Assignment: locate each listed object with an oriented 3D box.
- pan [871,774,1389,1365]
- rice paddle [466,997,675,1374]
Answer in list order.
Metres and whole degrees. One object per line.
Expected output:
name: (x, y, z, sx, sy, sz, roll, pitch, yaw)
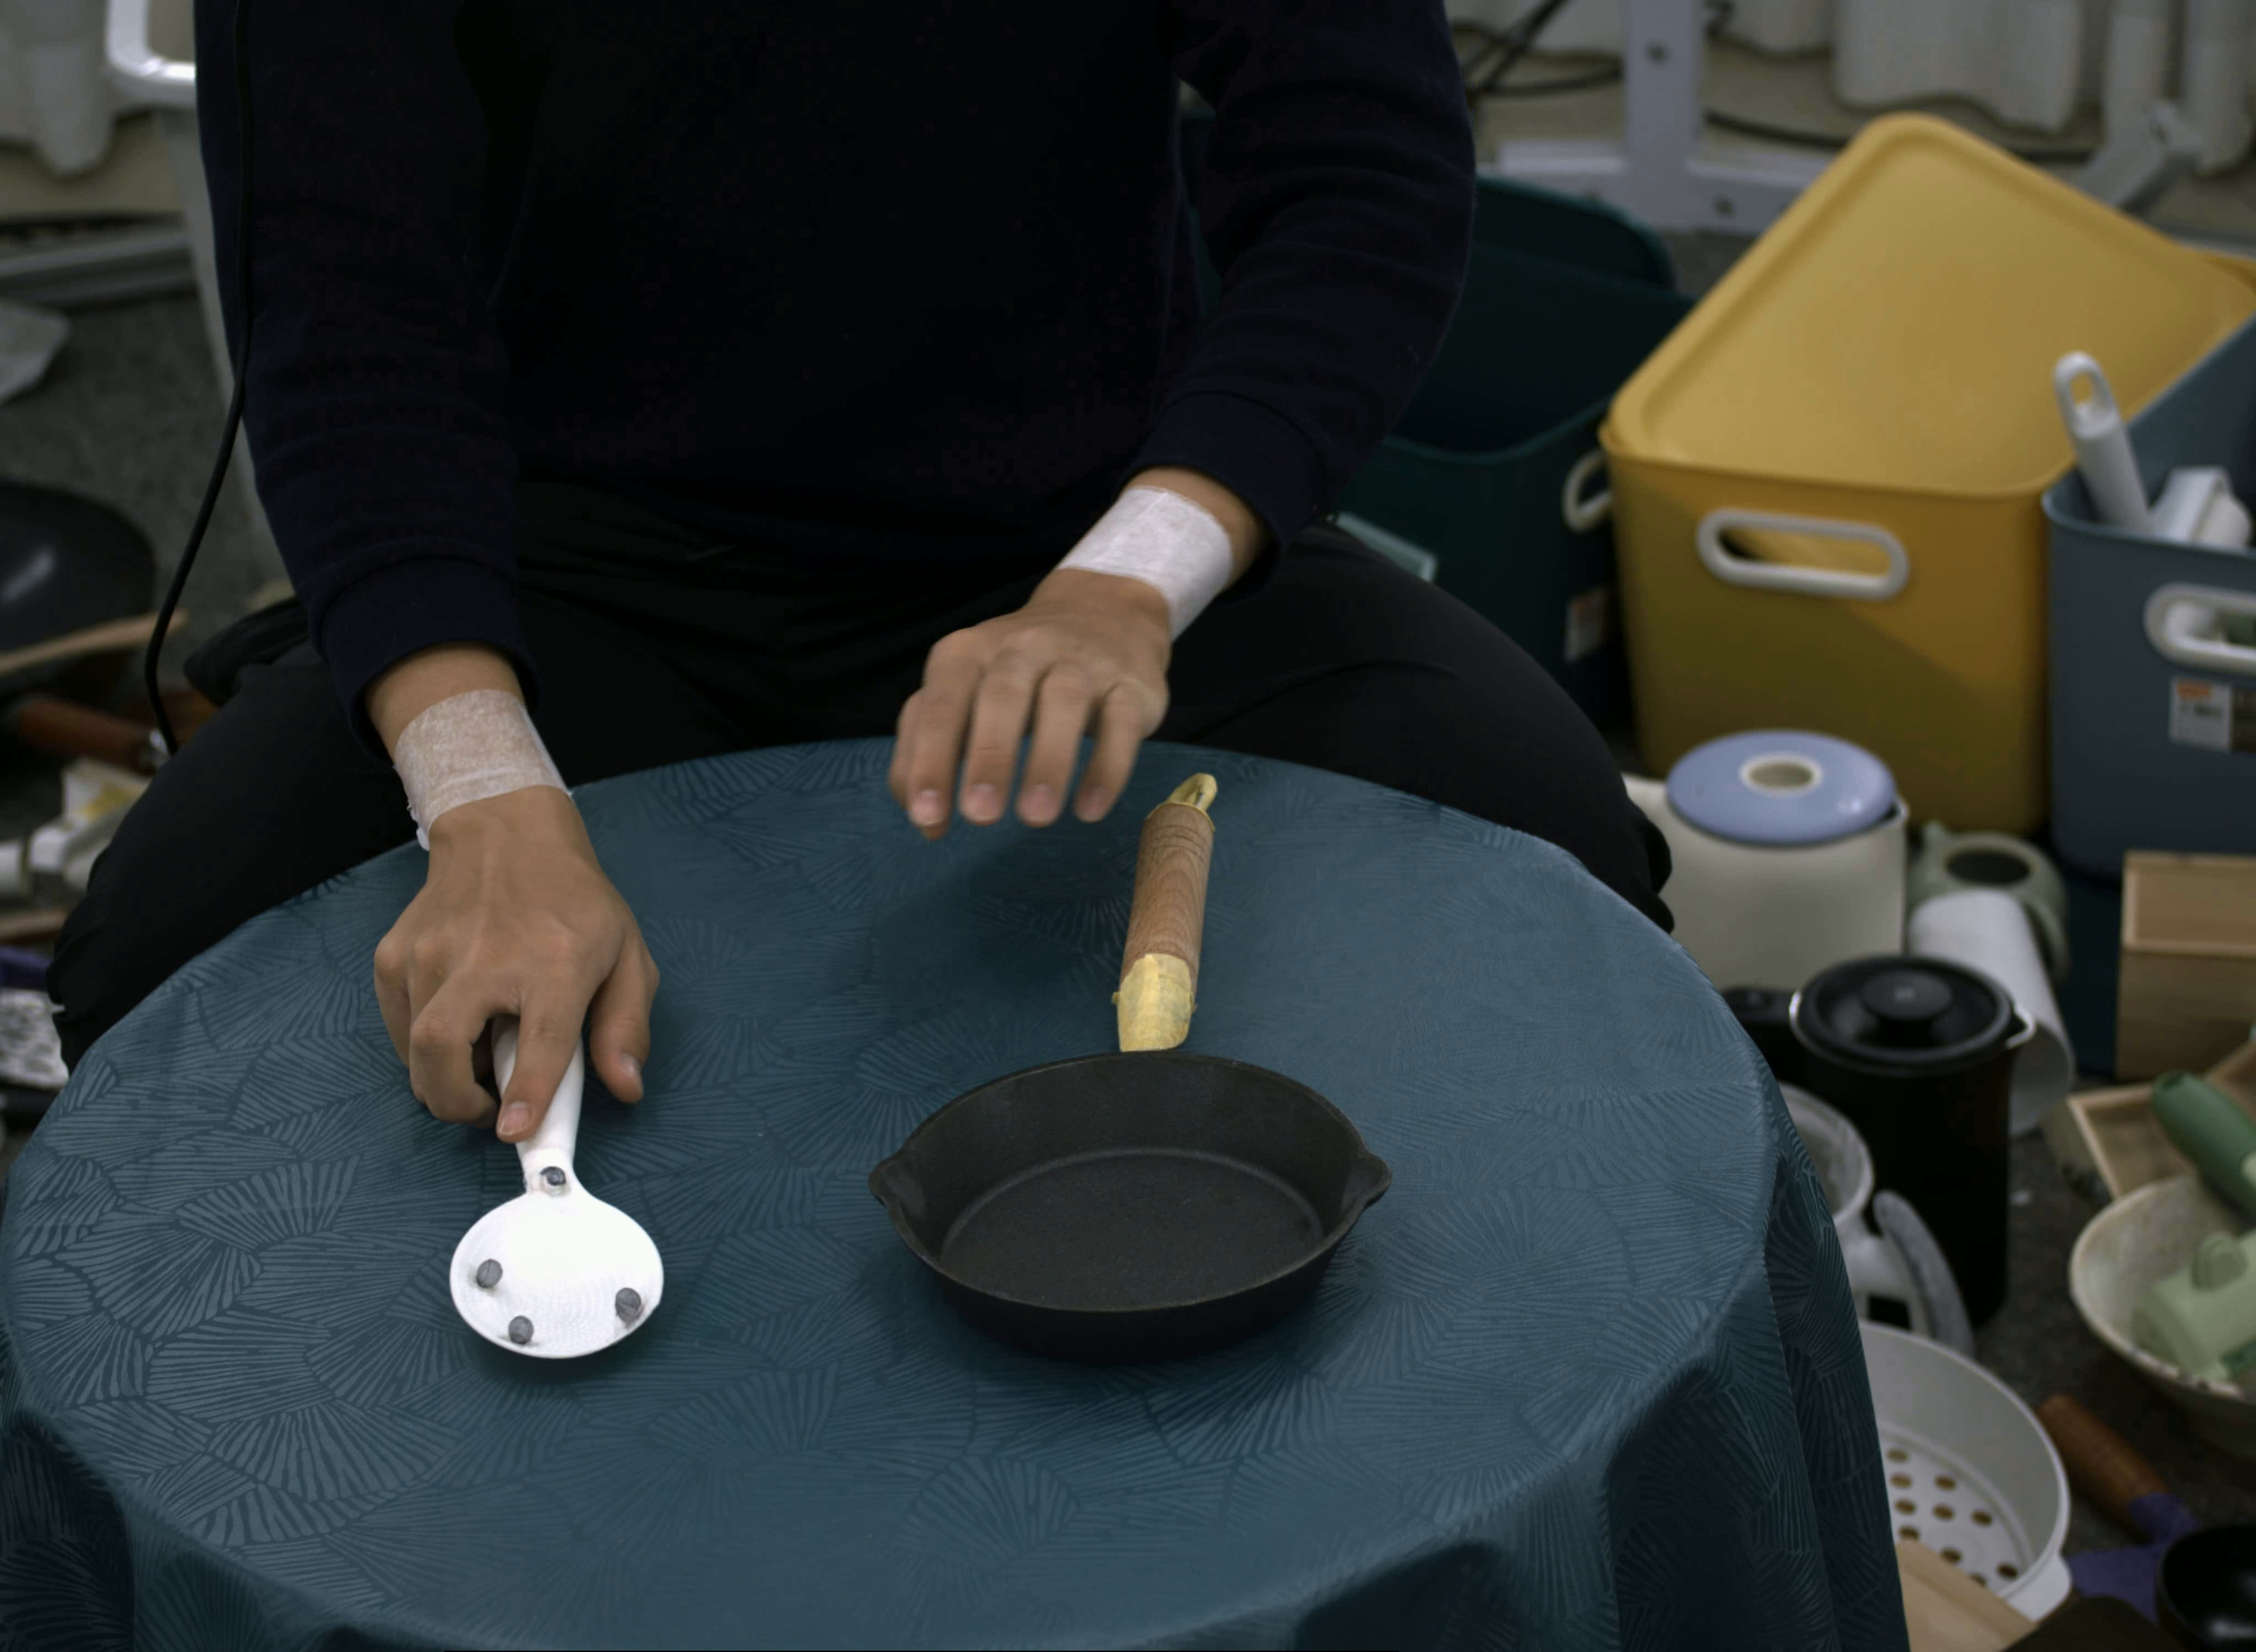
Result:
pan: (0.010, 0.079, 1.889, 0.168, 0.049, 0.330, 0, 29, 7)
rice paddle: (-0.191, 0.121, 1.859, 0.068, 0.029, 0.208, 8, 27, -17)
